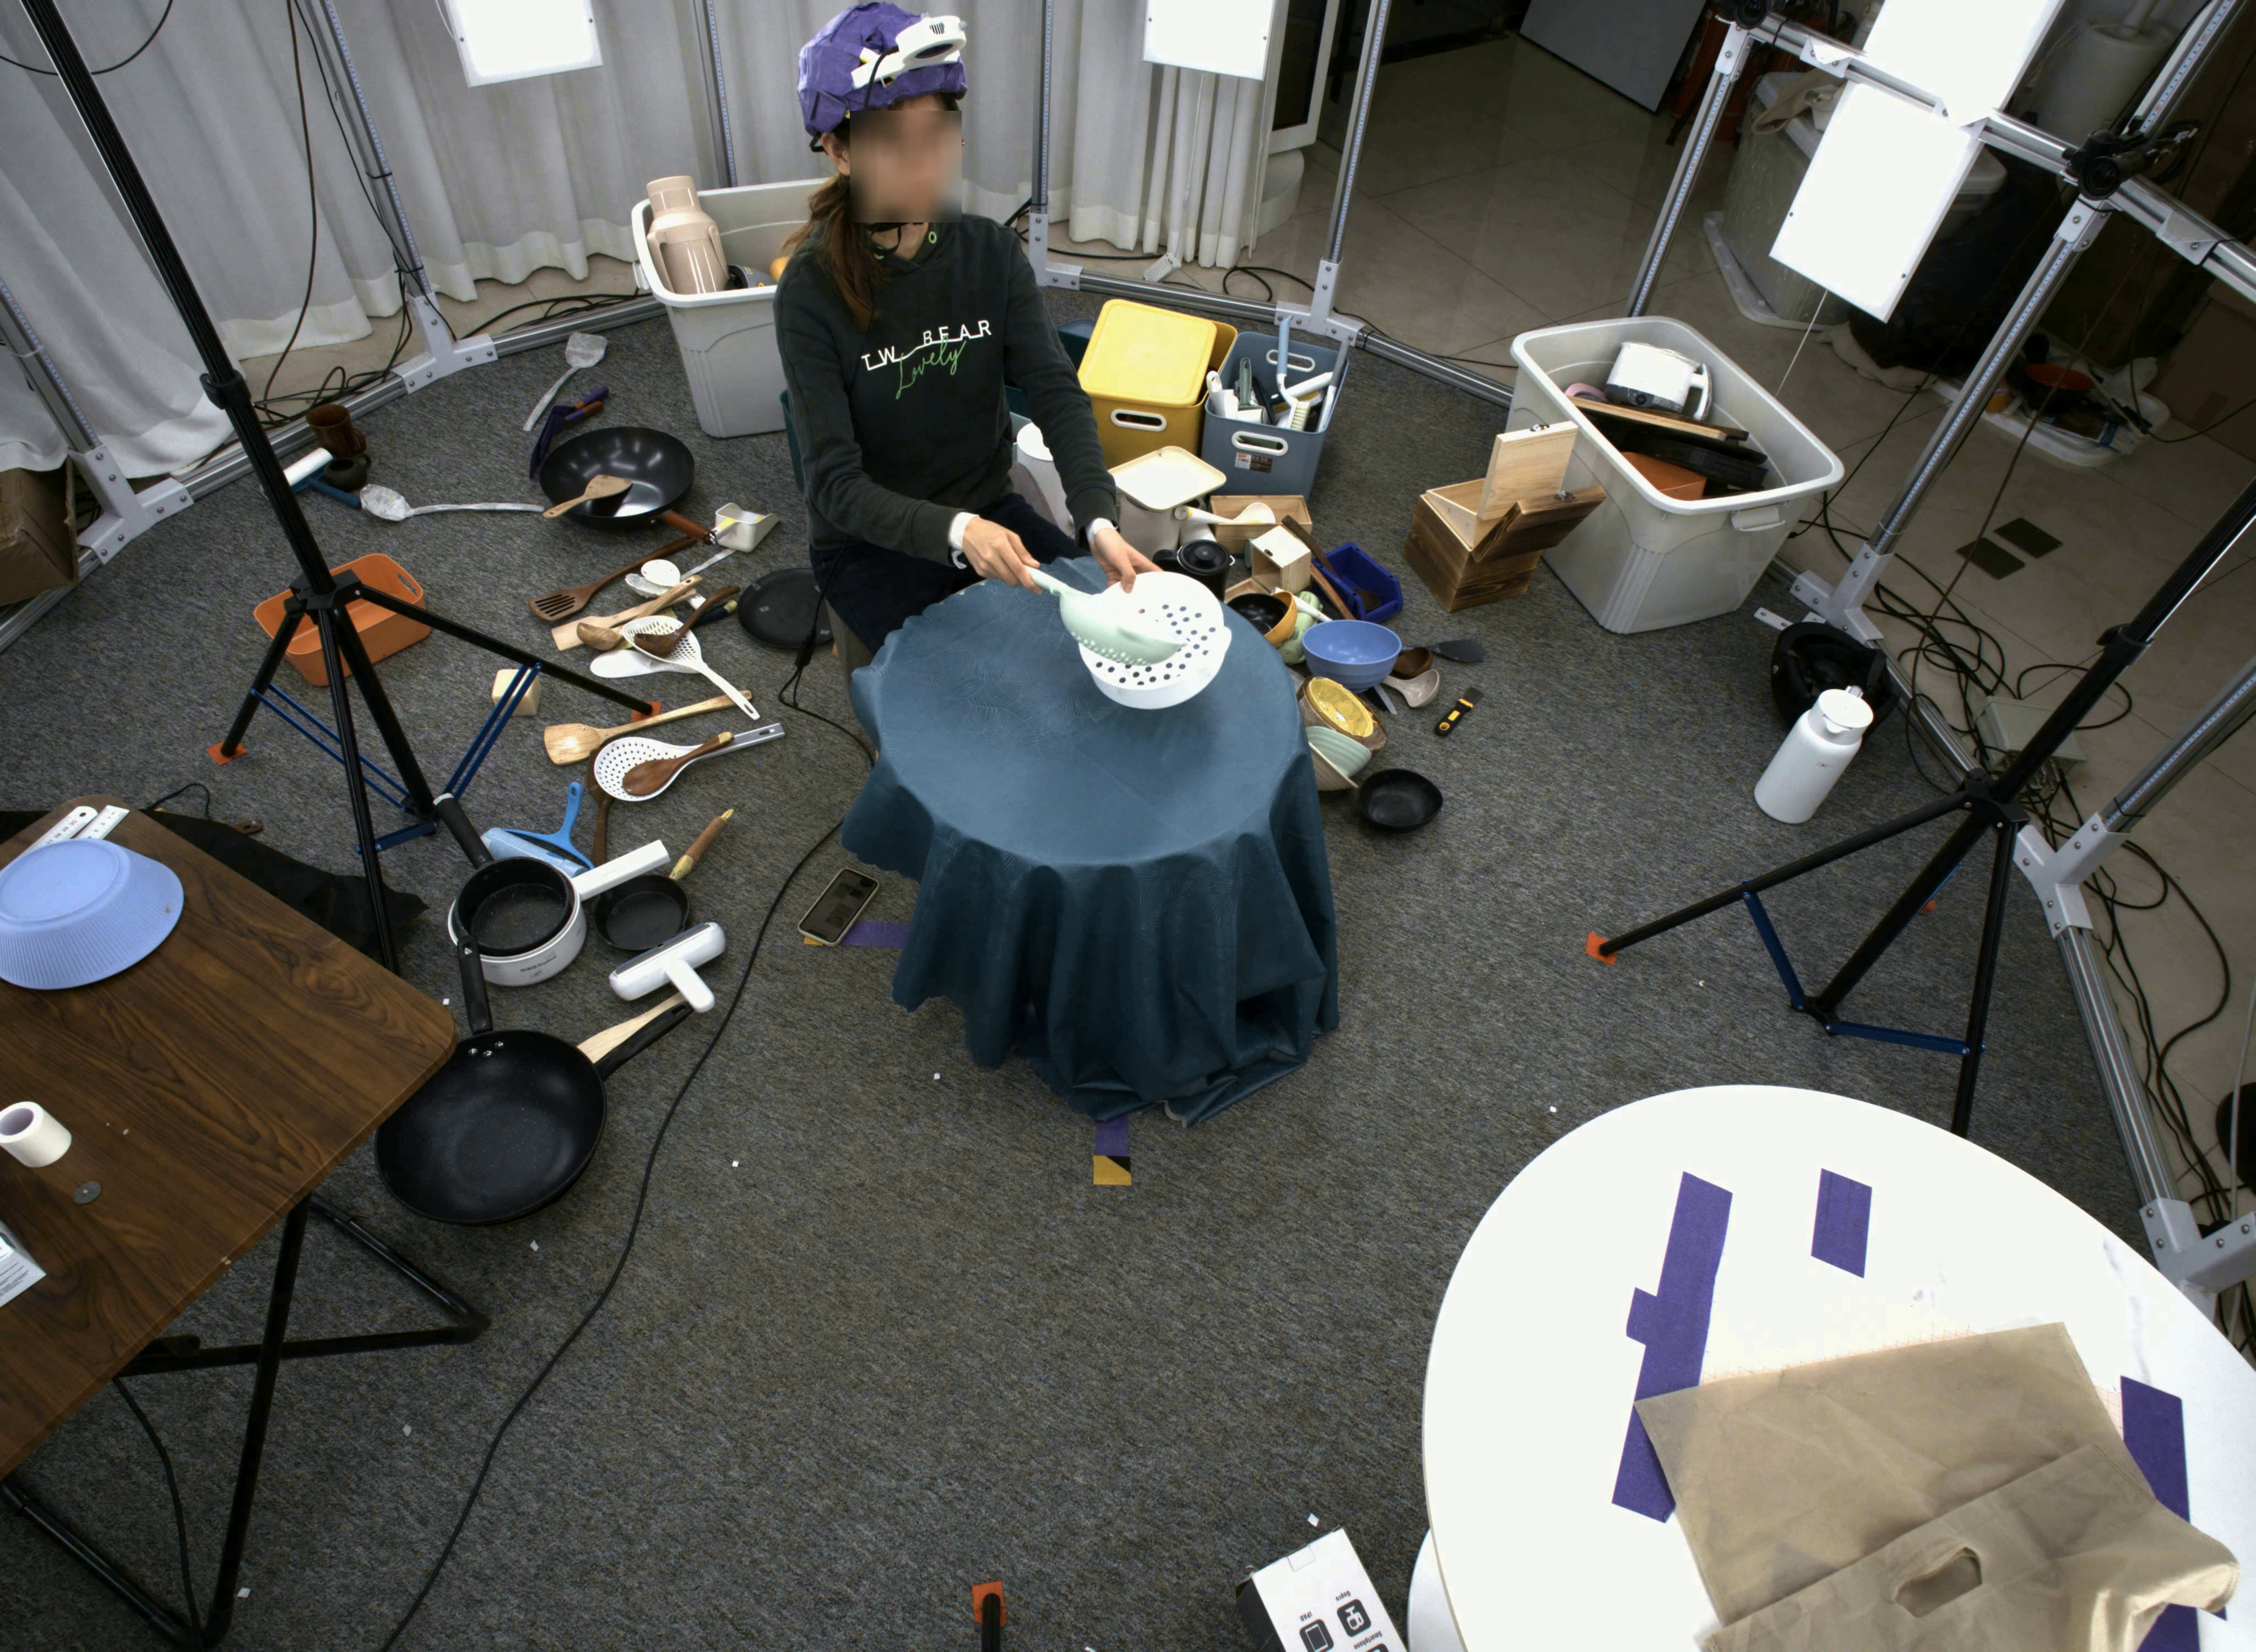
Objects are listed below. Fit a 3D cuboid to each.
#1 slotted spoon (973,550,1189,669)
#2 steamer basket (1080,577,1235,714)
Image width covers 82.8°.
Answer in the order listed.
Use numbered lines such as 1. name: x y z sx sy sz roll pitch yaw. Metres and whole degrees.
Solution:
1. slotted spoon: -0.081 -0.302 1.713 0.365 0.074 0.168 41 21 30
2. steamer basket: 0.042 -0.251 1.788 0.232 0.067 0.205 16 63 24
